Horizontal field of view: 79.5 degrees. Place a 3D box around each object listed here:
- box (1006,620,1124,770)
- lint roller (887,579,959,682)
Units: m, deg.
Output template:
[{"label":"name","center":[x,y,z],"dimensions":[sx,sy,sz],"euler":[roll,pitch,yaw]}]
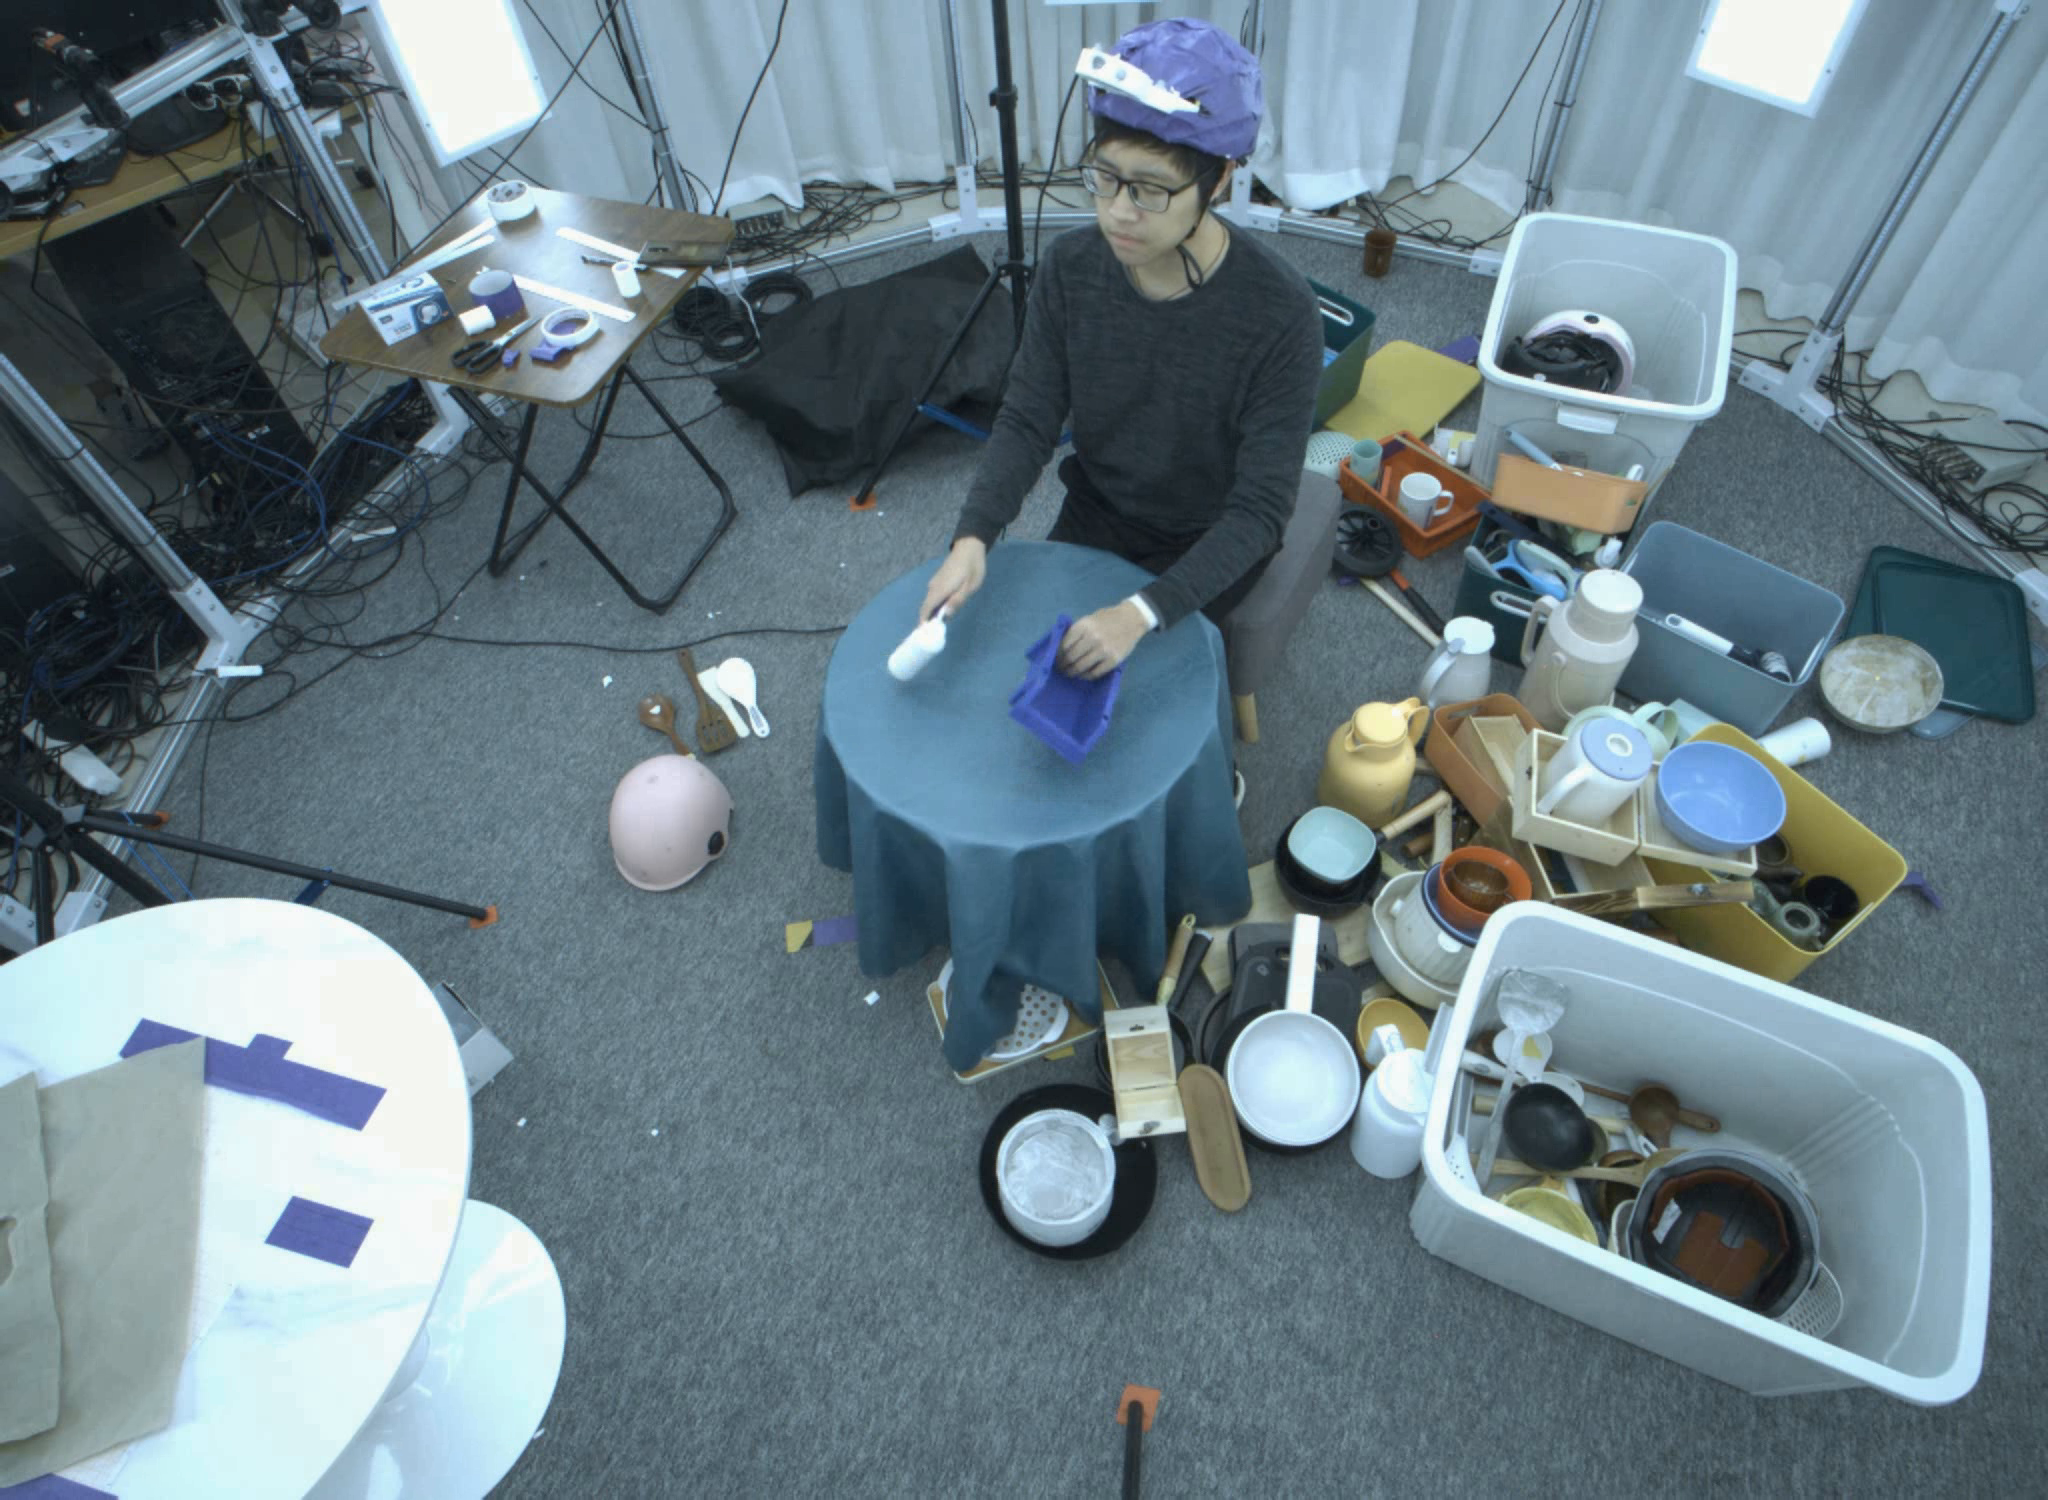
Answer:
[{"label":"box","center":[0.056,-0.072,1.715],"dimensions":[0.126,0.081,0.178],"euler":[36,40,-16]},{"label":"lint roller","center":[-0.142,-0.194,1.823],"dimensions":[0.051,0.131,0.180],"euler":[28,60,-20]}]
